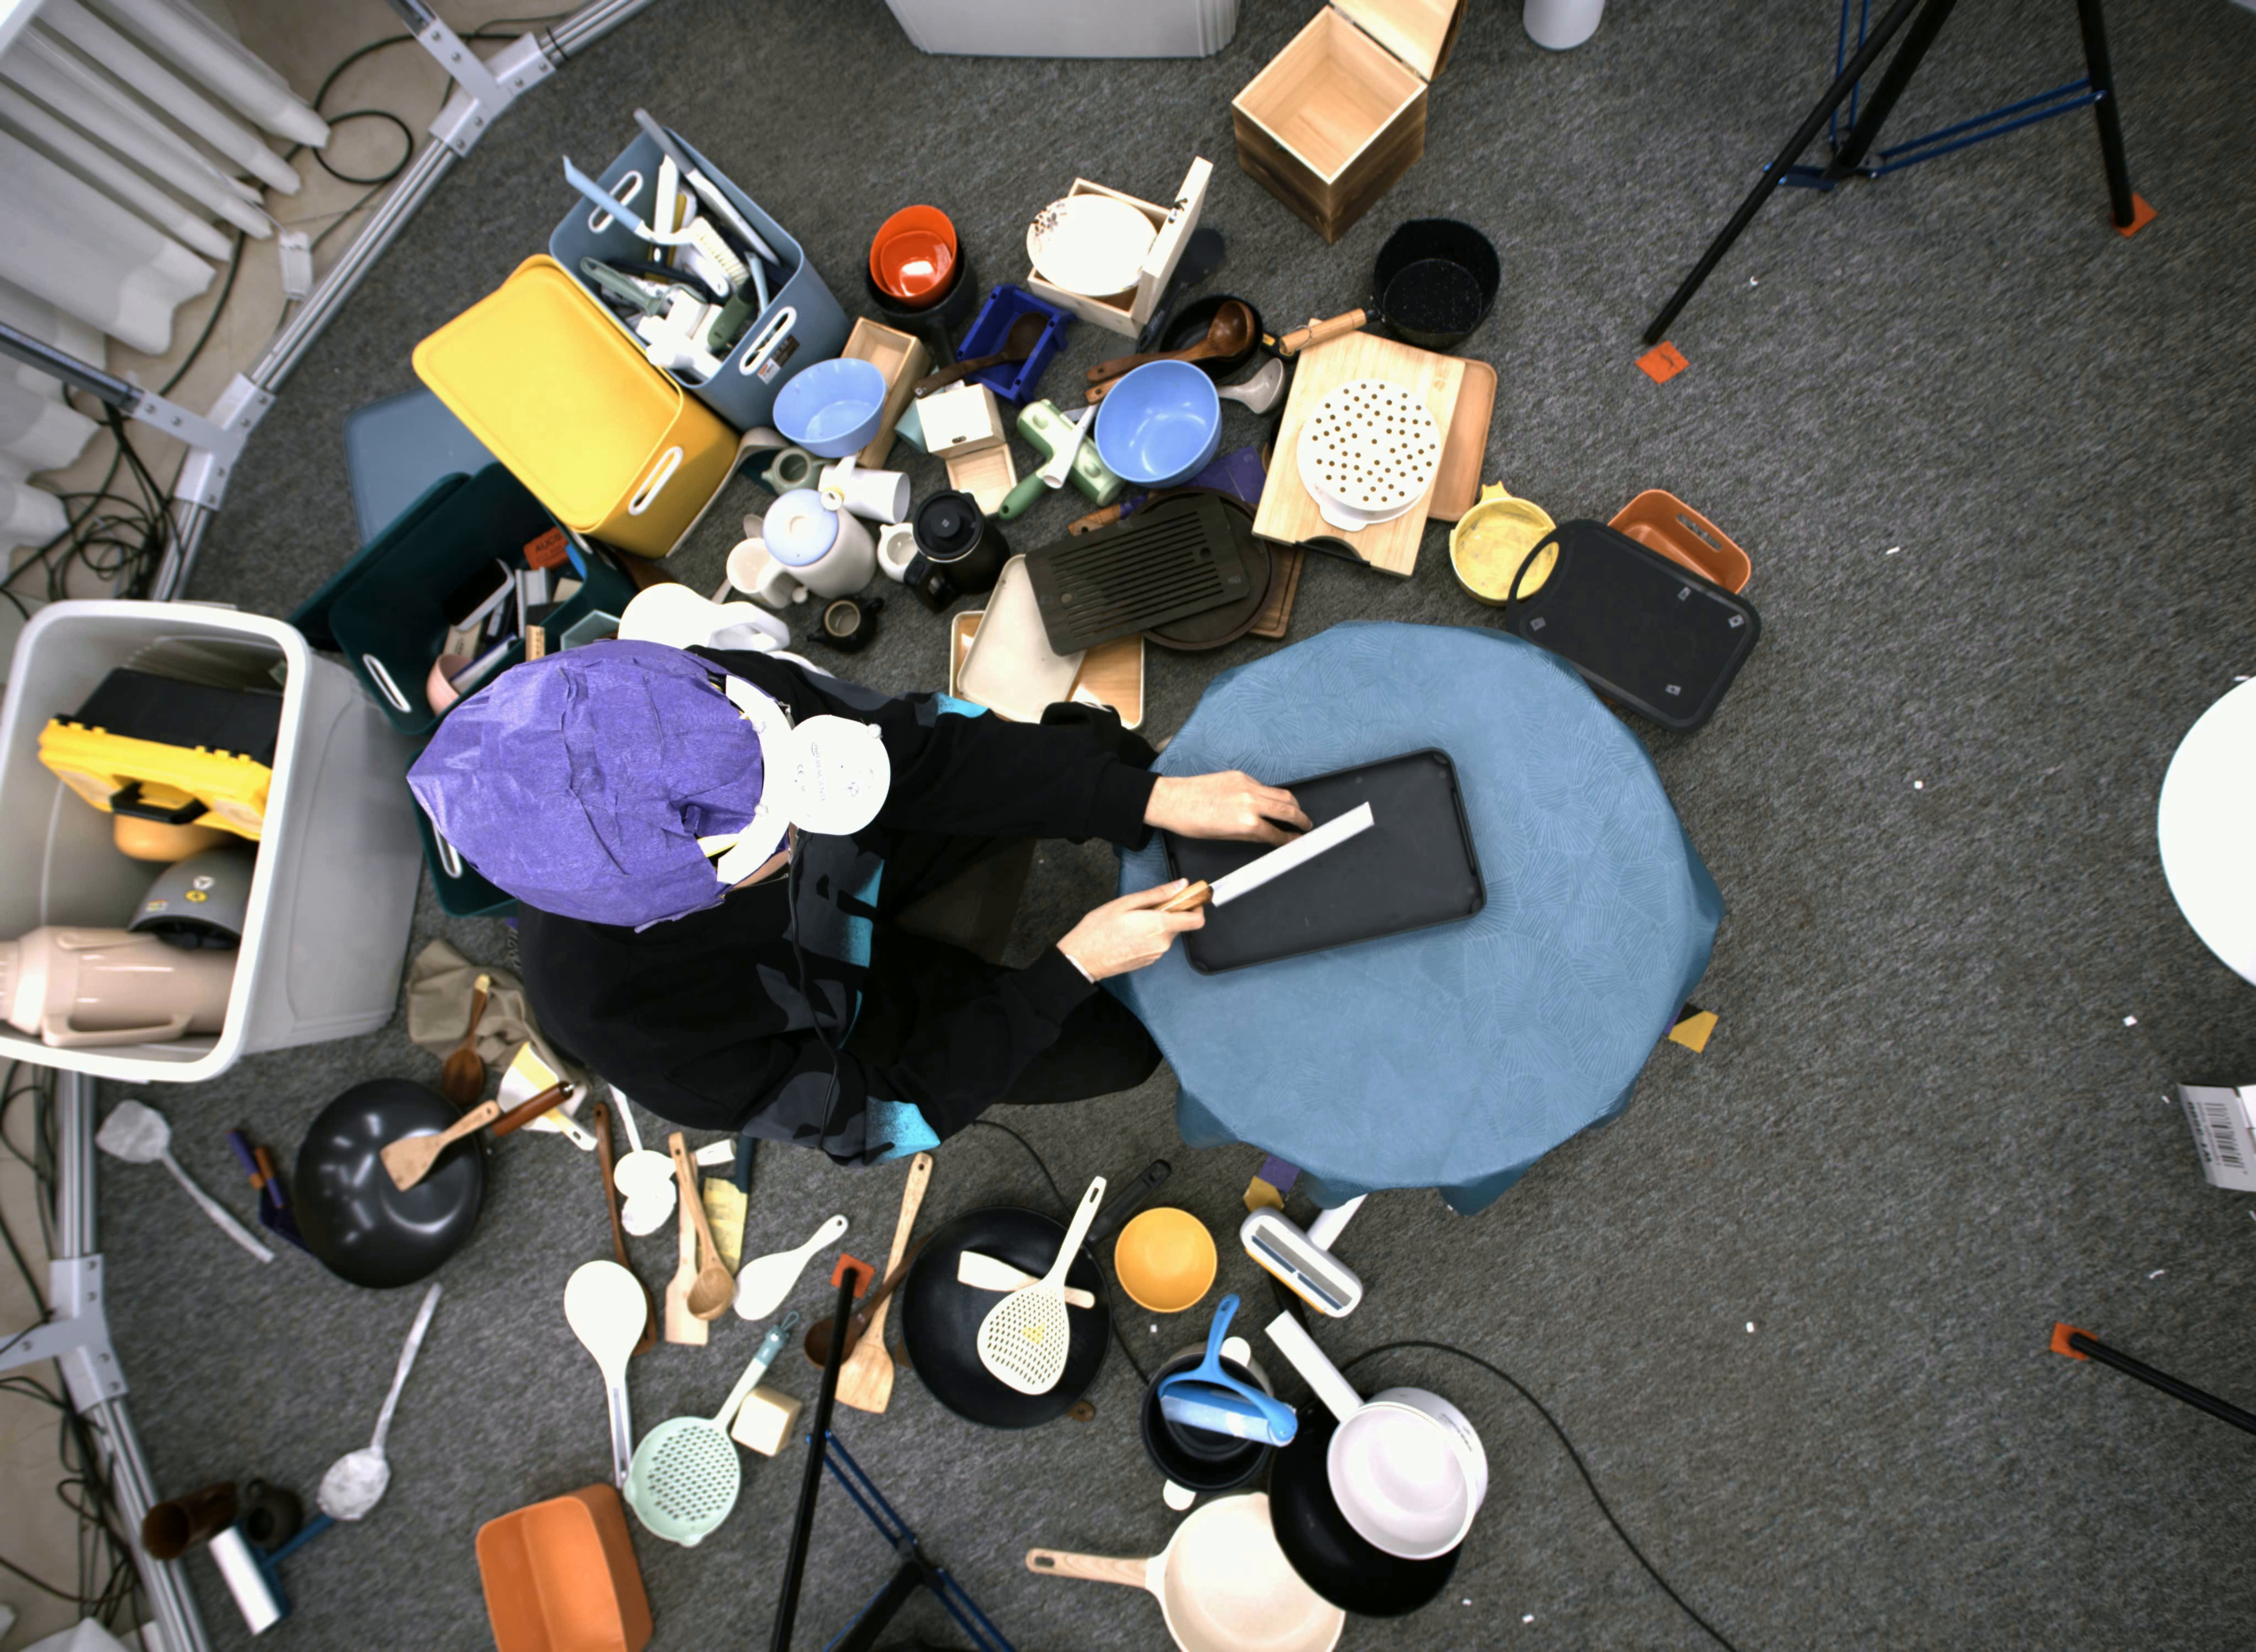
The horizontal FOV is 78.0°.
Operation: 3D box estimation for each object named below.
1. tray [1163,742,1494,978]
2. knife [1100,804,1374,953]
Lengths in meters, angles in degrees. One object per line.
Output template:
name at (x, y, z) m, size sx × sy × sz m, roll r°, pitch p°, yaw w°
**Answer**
tray at (0.208, 0.036, 1.455) m, size 0.320 × 0.037 × 0.183 m, roll -15°, pitch 84°, yaw 10°
knife at (0.116, 0.057, 1.431) m, size 0.307 × 0.093 × 0.021 m, roll -28°, pitch 71°, yaw 8°
